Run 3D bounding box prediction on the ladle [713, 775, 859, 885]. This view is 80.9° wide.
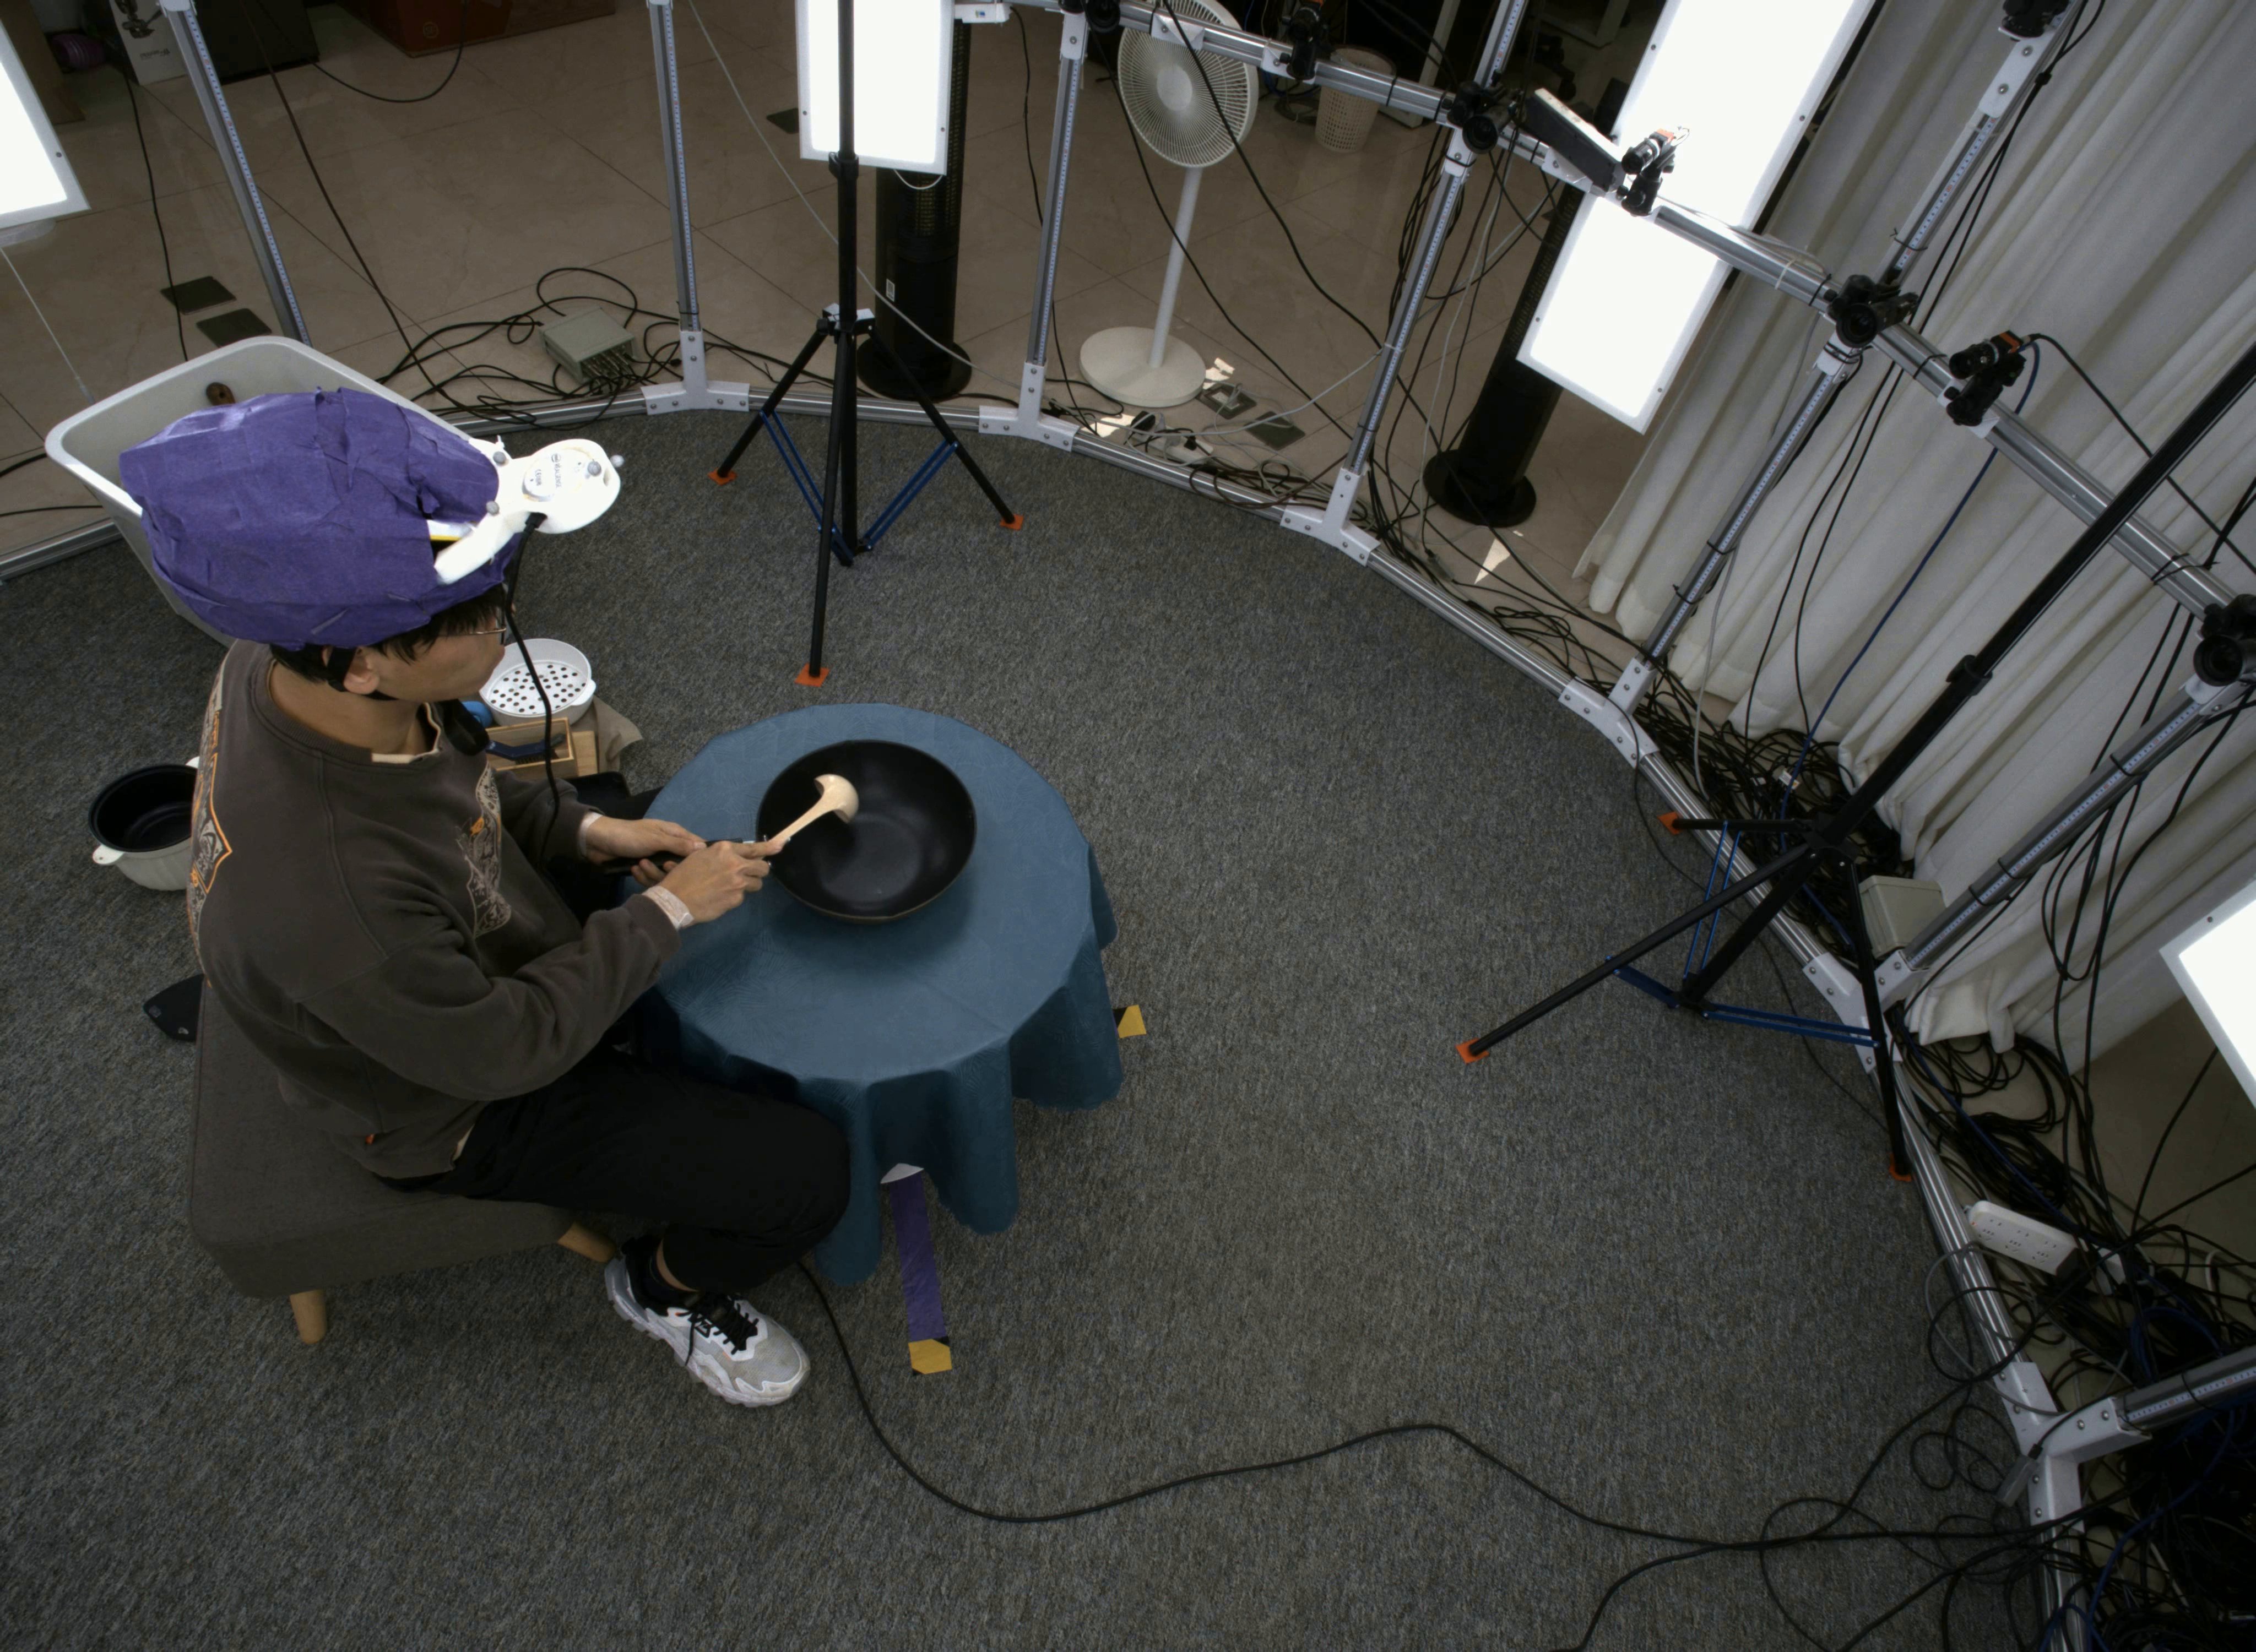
[{"bbox_3d":[-0.441,0.015,1.640,0.073,0.072,0.254,55,46,-7],"label":"ladle"}]

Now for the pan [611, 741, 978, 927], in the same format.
[{"bbox_3d":[-0.421,0.037,1.661,0.464,0.089,0.281,-10,57,-17],"label":"pan"}]
